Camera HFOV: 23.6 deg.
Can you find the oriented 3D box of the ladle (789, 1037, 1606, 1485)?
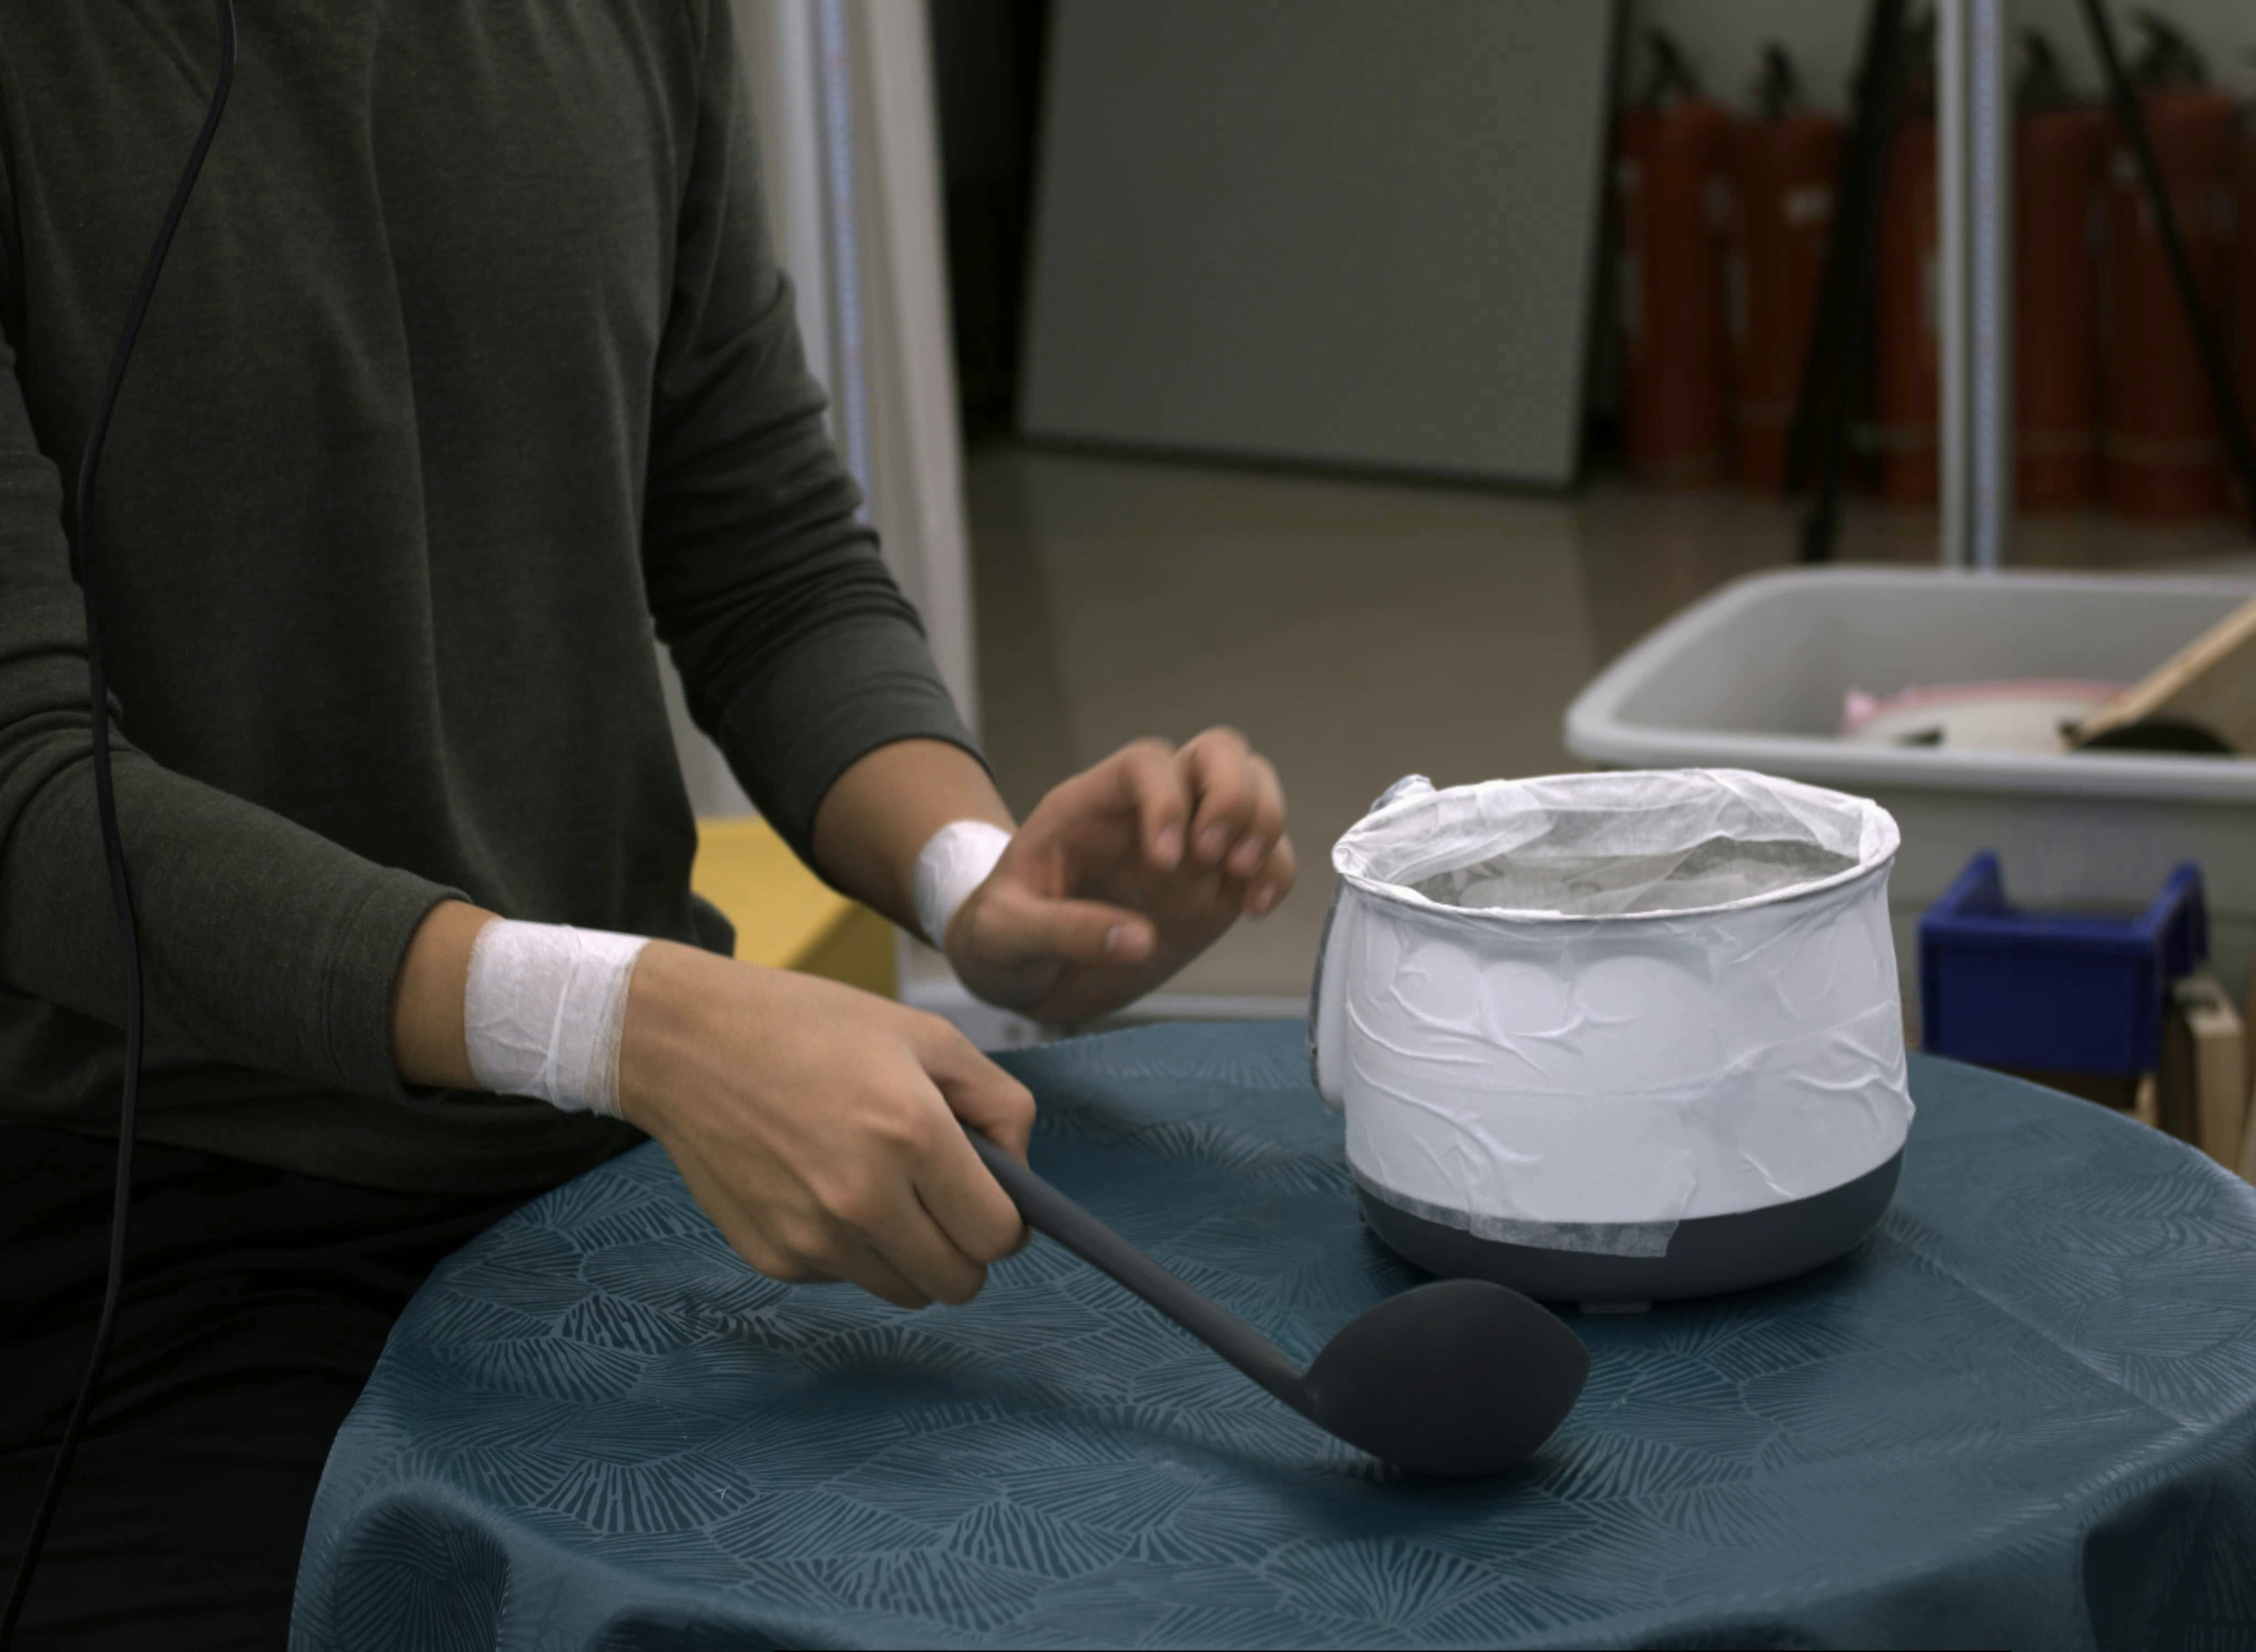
[{"bbox_3d":[0.010,0.108,1.571,0.317,0.085,0.064,29,76,44],"label":"ladle"}]

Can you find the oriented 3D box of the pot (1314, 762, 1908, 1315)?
[{"bbox_3d":[0.137,0.060,1.695,0.175,0.138,0.236,-13,16,-35],"label":"pot"}]
